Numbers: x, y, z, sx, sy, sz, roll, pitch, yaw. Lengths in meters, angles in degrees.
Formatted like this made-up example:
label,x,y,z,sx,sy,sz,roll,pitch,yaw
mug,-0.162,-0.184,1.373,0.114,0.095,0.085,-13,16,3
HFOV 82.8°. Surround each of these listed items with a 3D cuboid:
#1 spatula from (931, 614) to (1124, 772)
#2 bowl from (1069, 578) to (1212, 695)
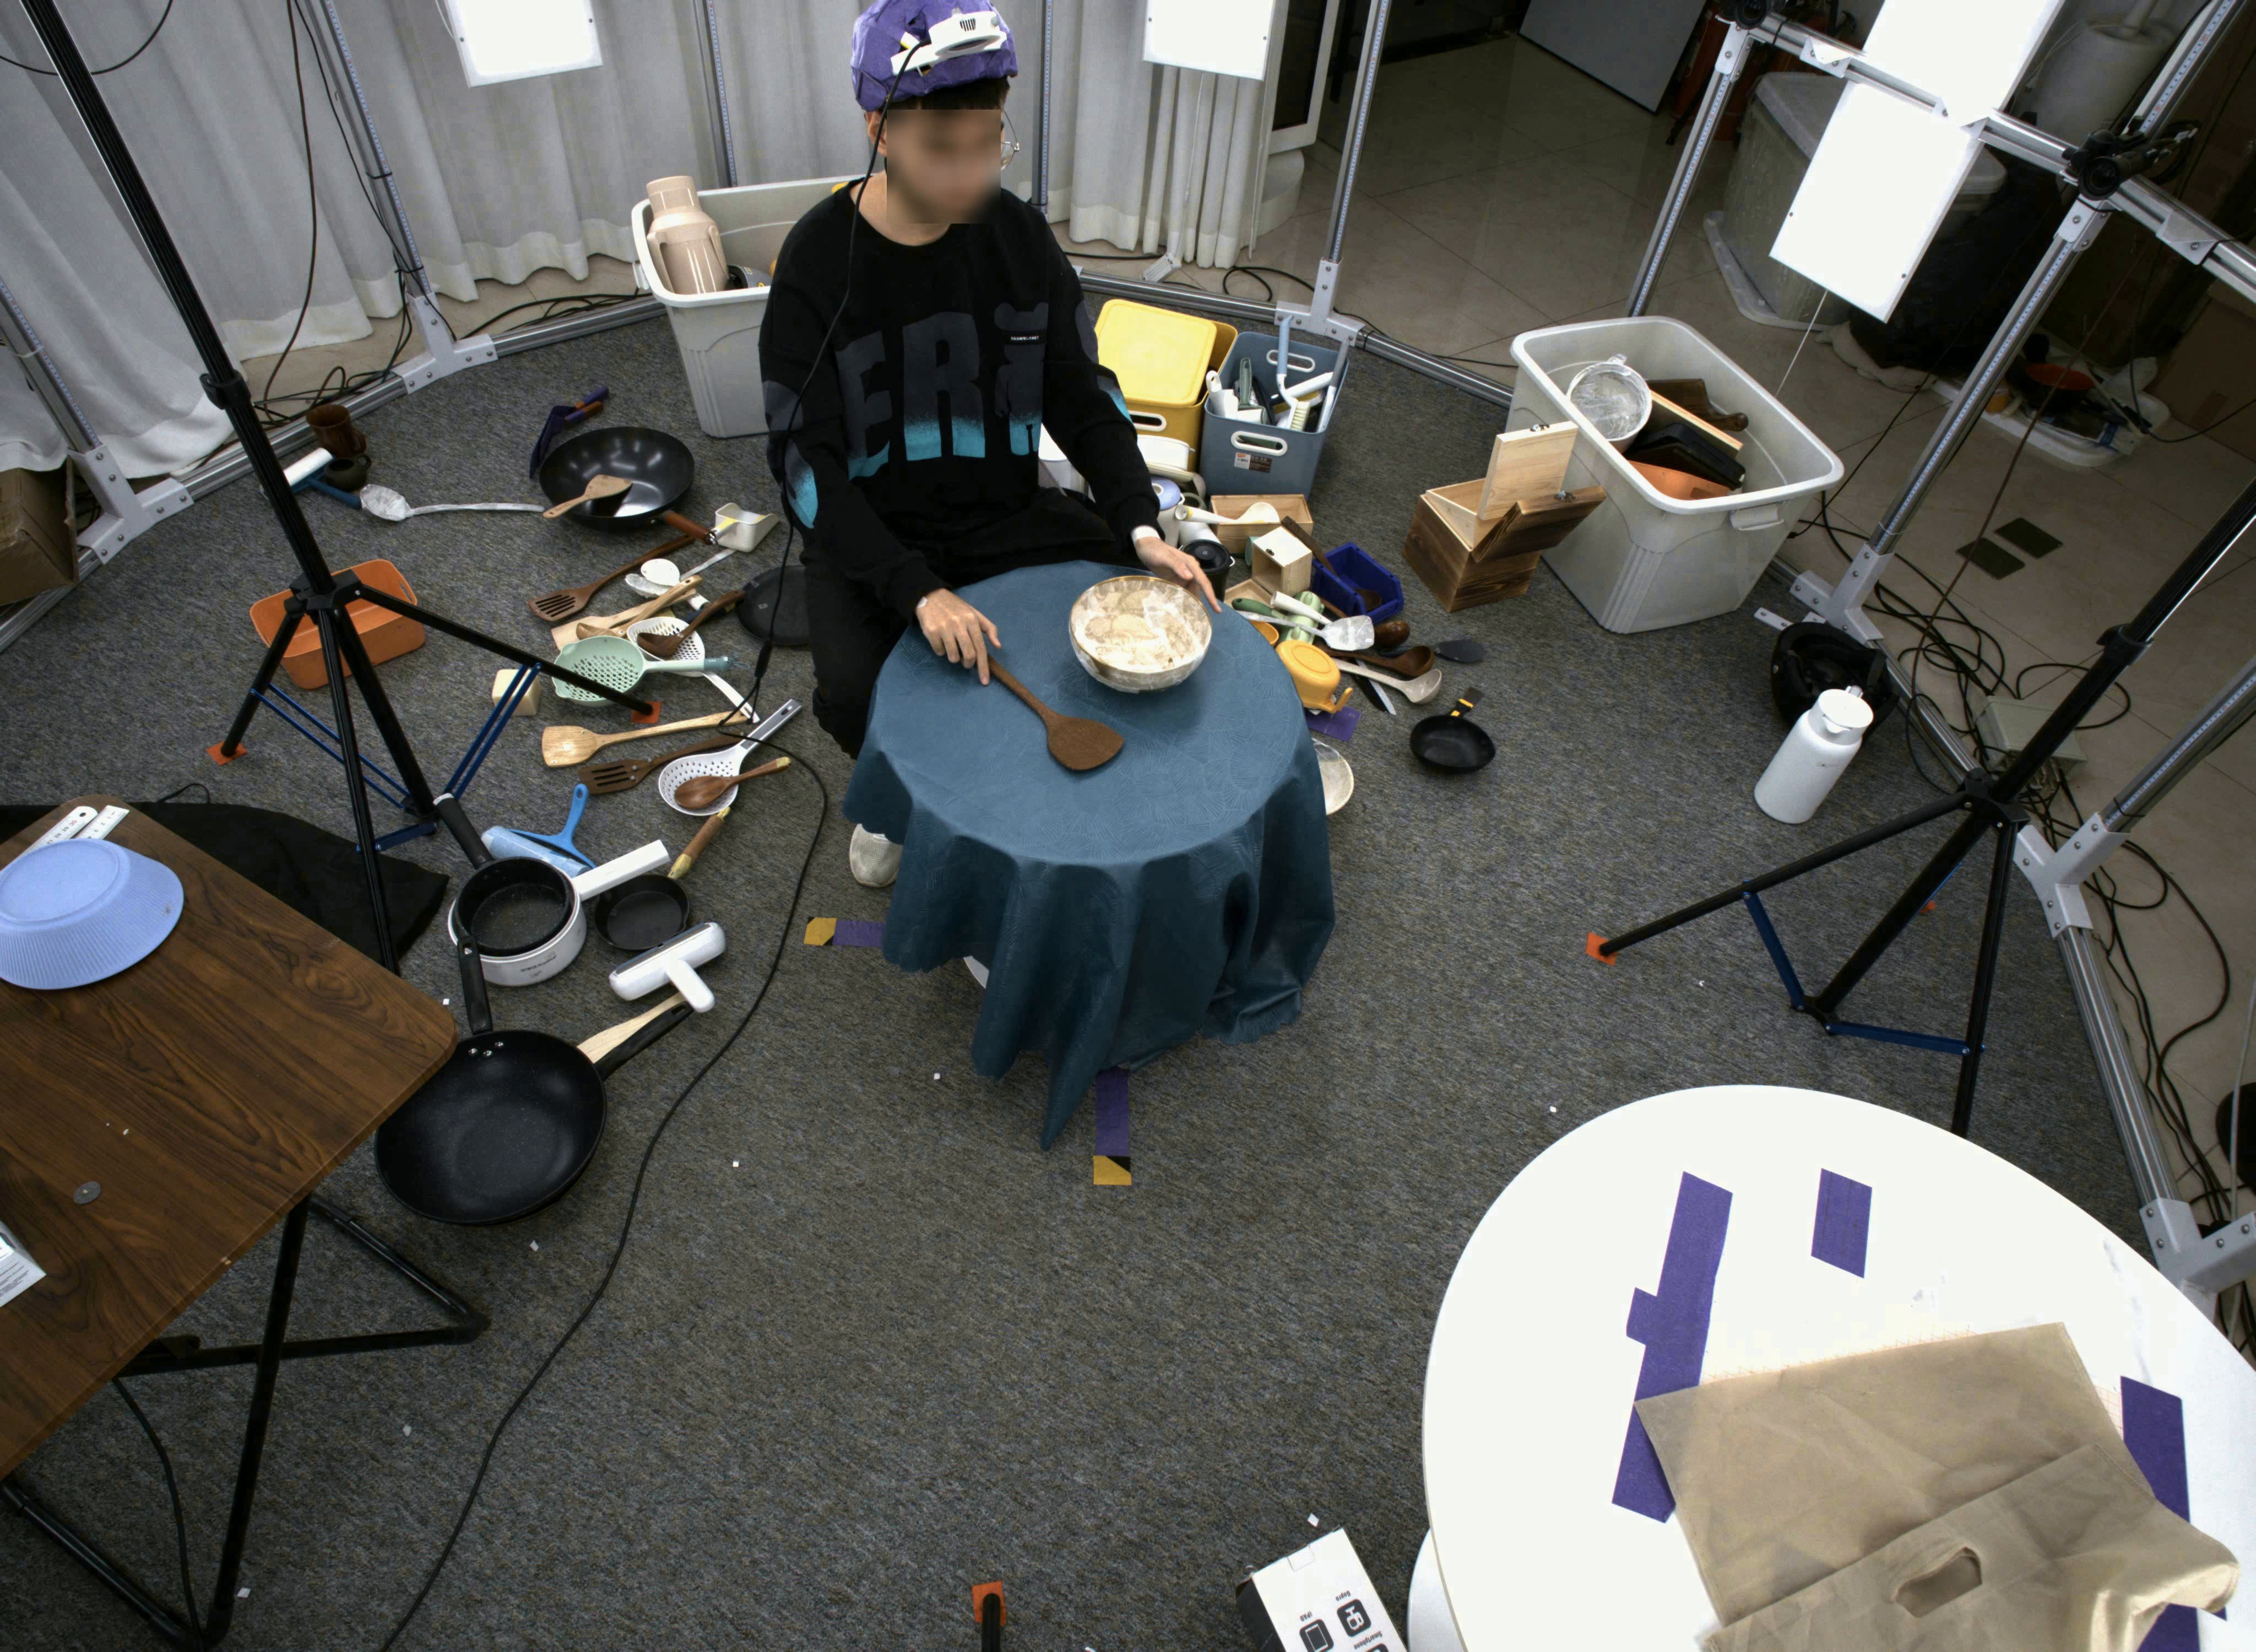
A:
label,x,y,z,sx,sy,sz,roll,pitch,yaw
spatula,-0.160,-0.200,1.836,0.097,0.015,0.392,-32,59,-29
bowl,0.018,-0.259,1.852,0.214,0.092,0.220,1,48,-1
